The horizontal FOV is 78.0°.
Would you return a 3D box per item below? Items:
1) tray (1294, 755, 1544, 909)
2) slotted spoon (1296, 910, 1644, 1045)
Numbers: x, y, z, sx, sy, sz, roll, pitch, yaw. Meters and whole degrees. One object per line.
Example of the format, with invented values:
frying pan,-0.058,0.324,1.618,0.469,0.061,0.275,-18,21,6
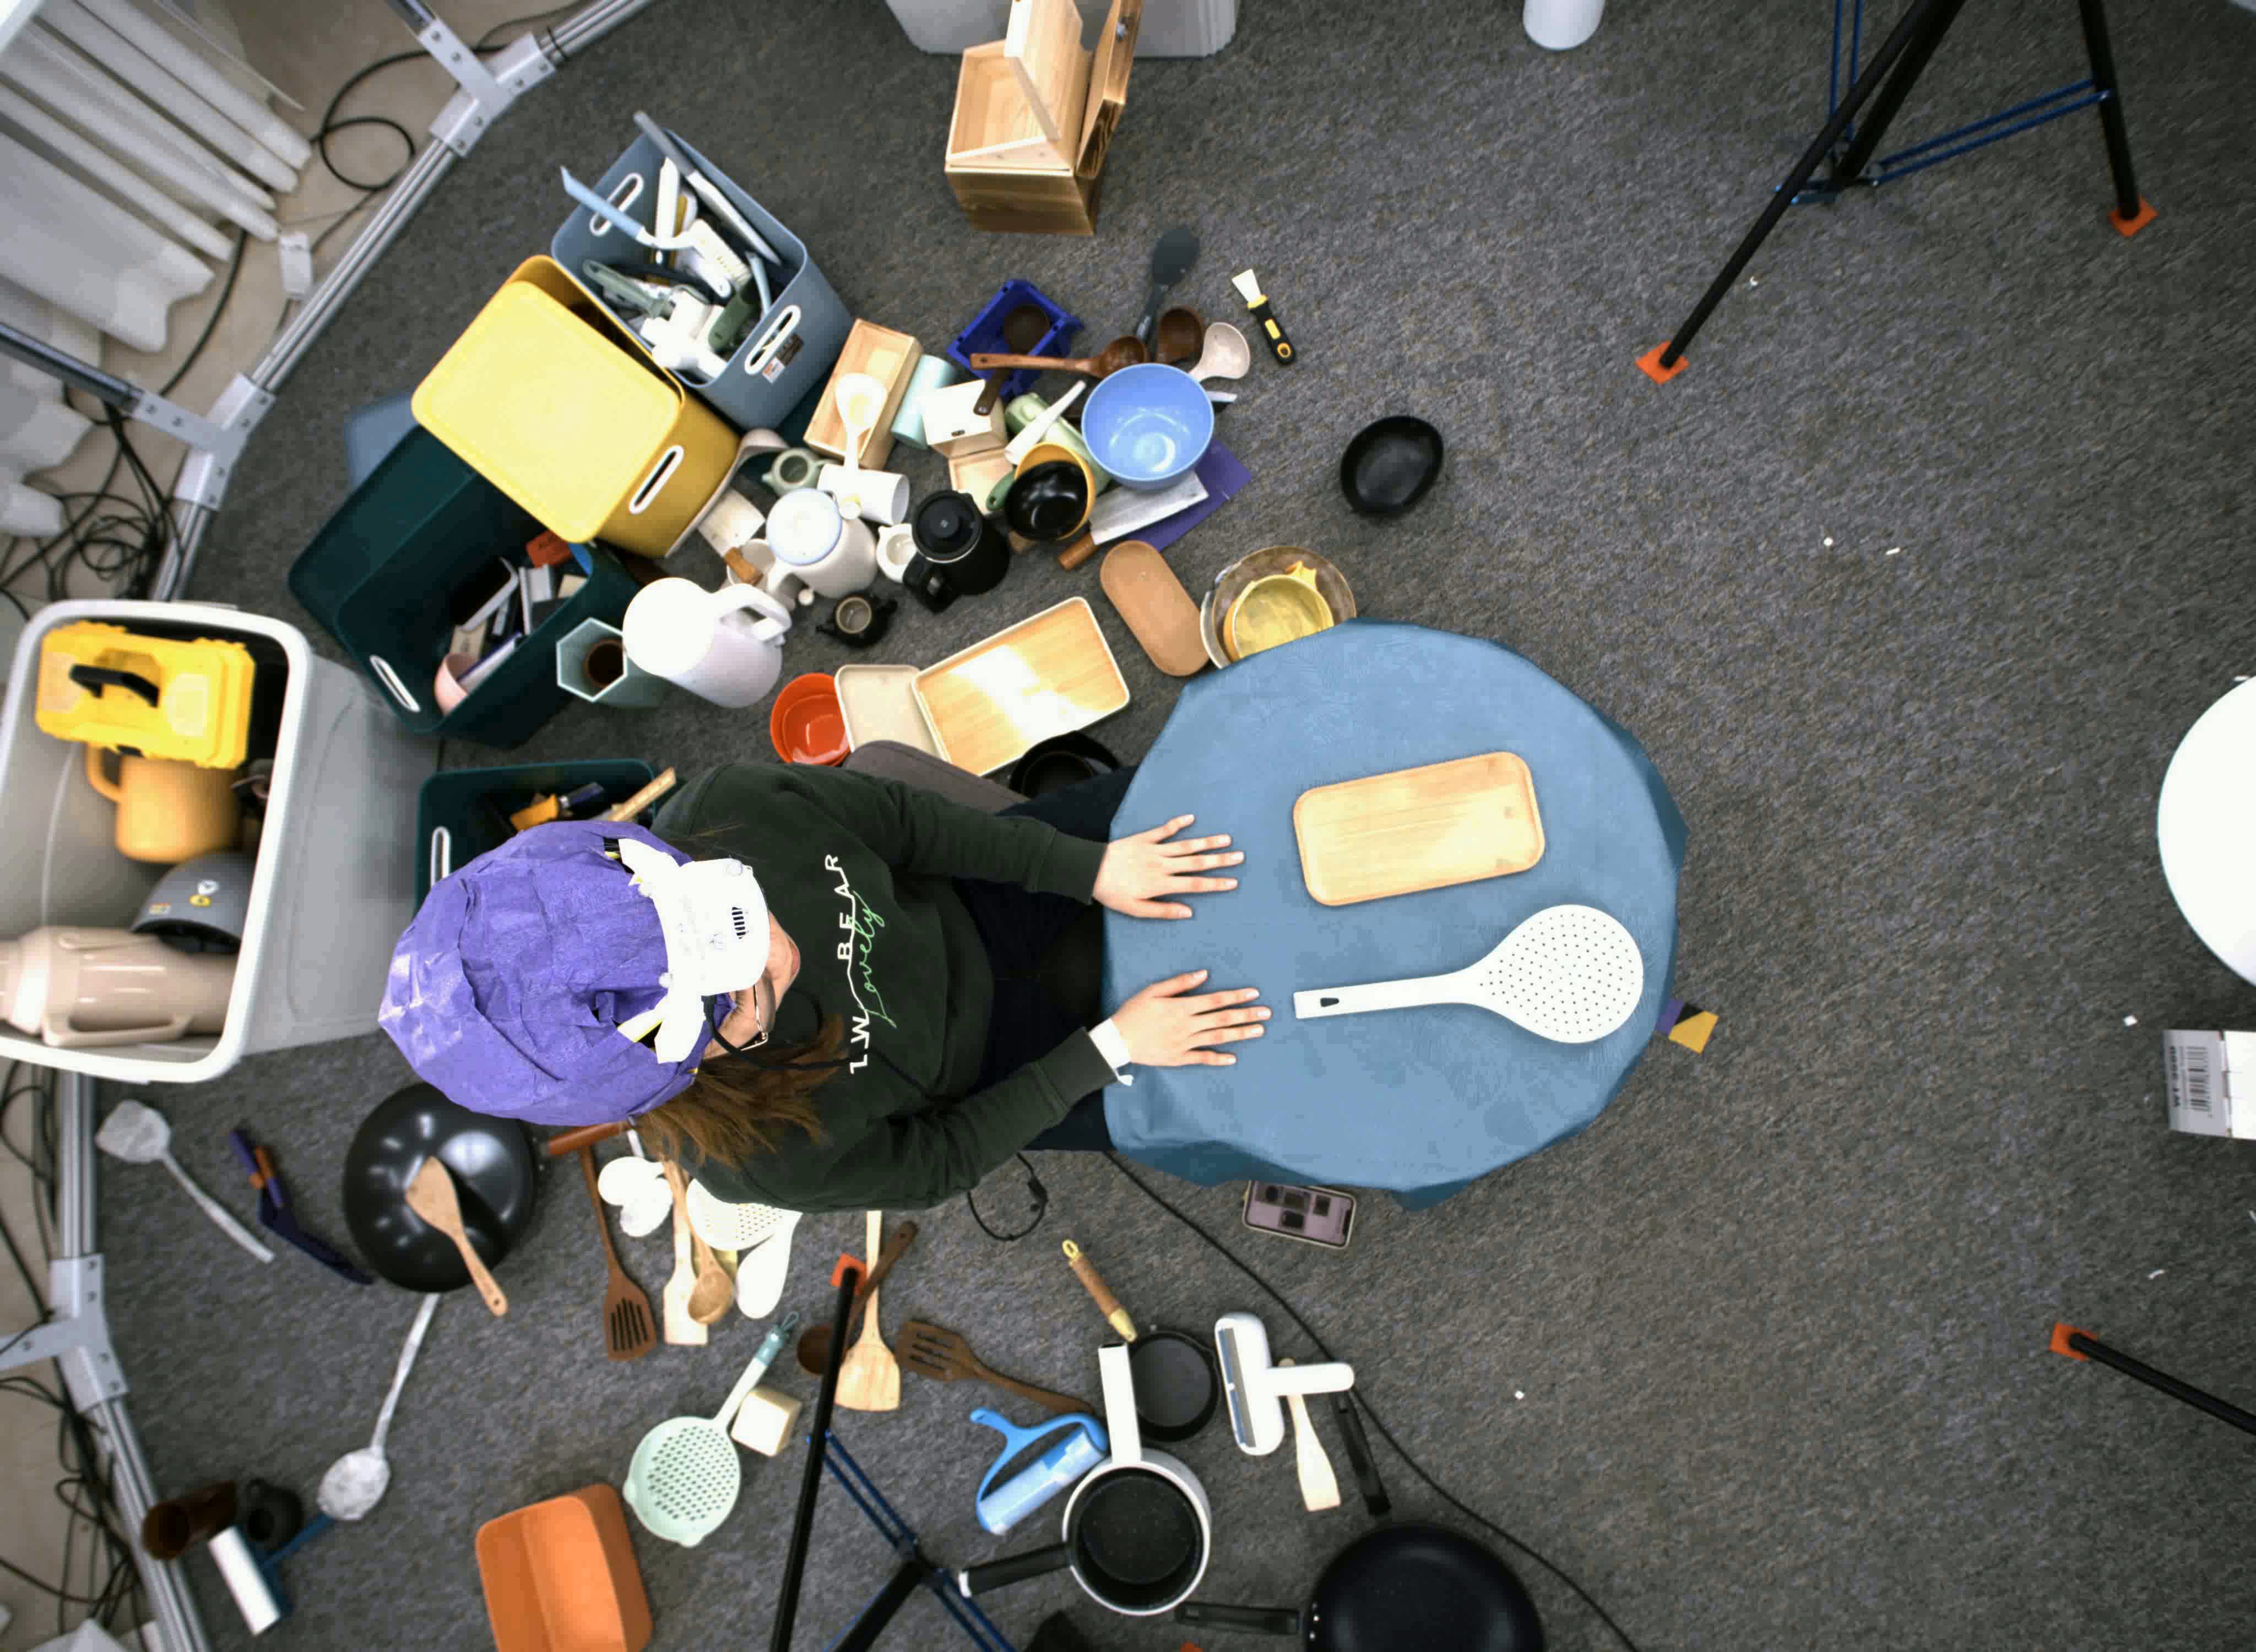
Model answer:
tray,0.306,0.006,1.454,0.252,0.023,0.129,-11,82,10
slotted spoon,0.347,0.166,1.421,0.351,0.046,0.135,-8,82,11
